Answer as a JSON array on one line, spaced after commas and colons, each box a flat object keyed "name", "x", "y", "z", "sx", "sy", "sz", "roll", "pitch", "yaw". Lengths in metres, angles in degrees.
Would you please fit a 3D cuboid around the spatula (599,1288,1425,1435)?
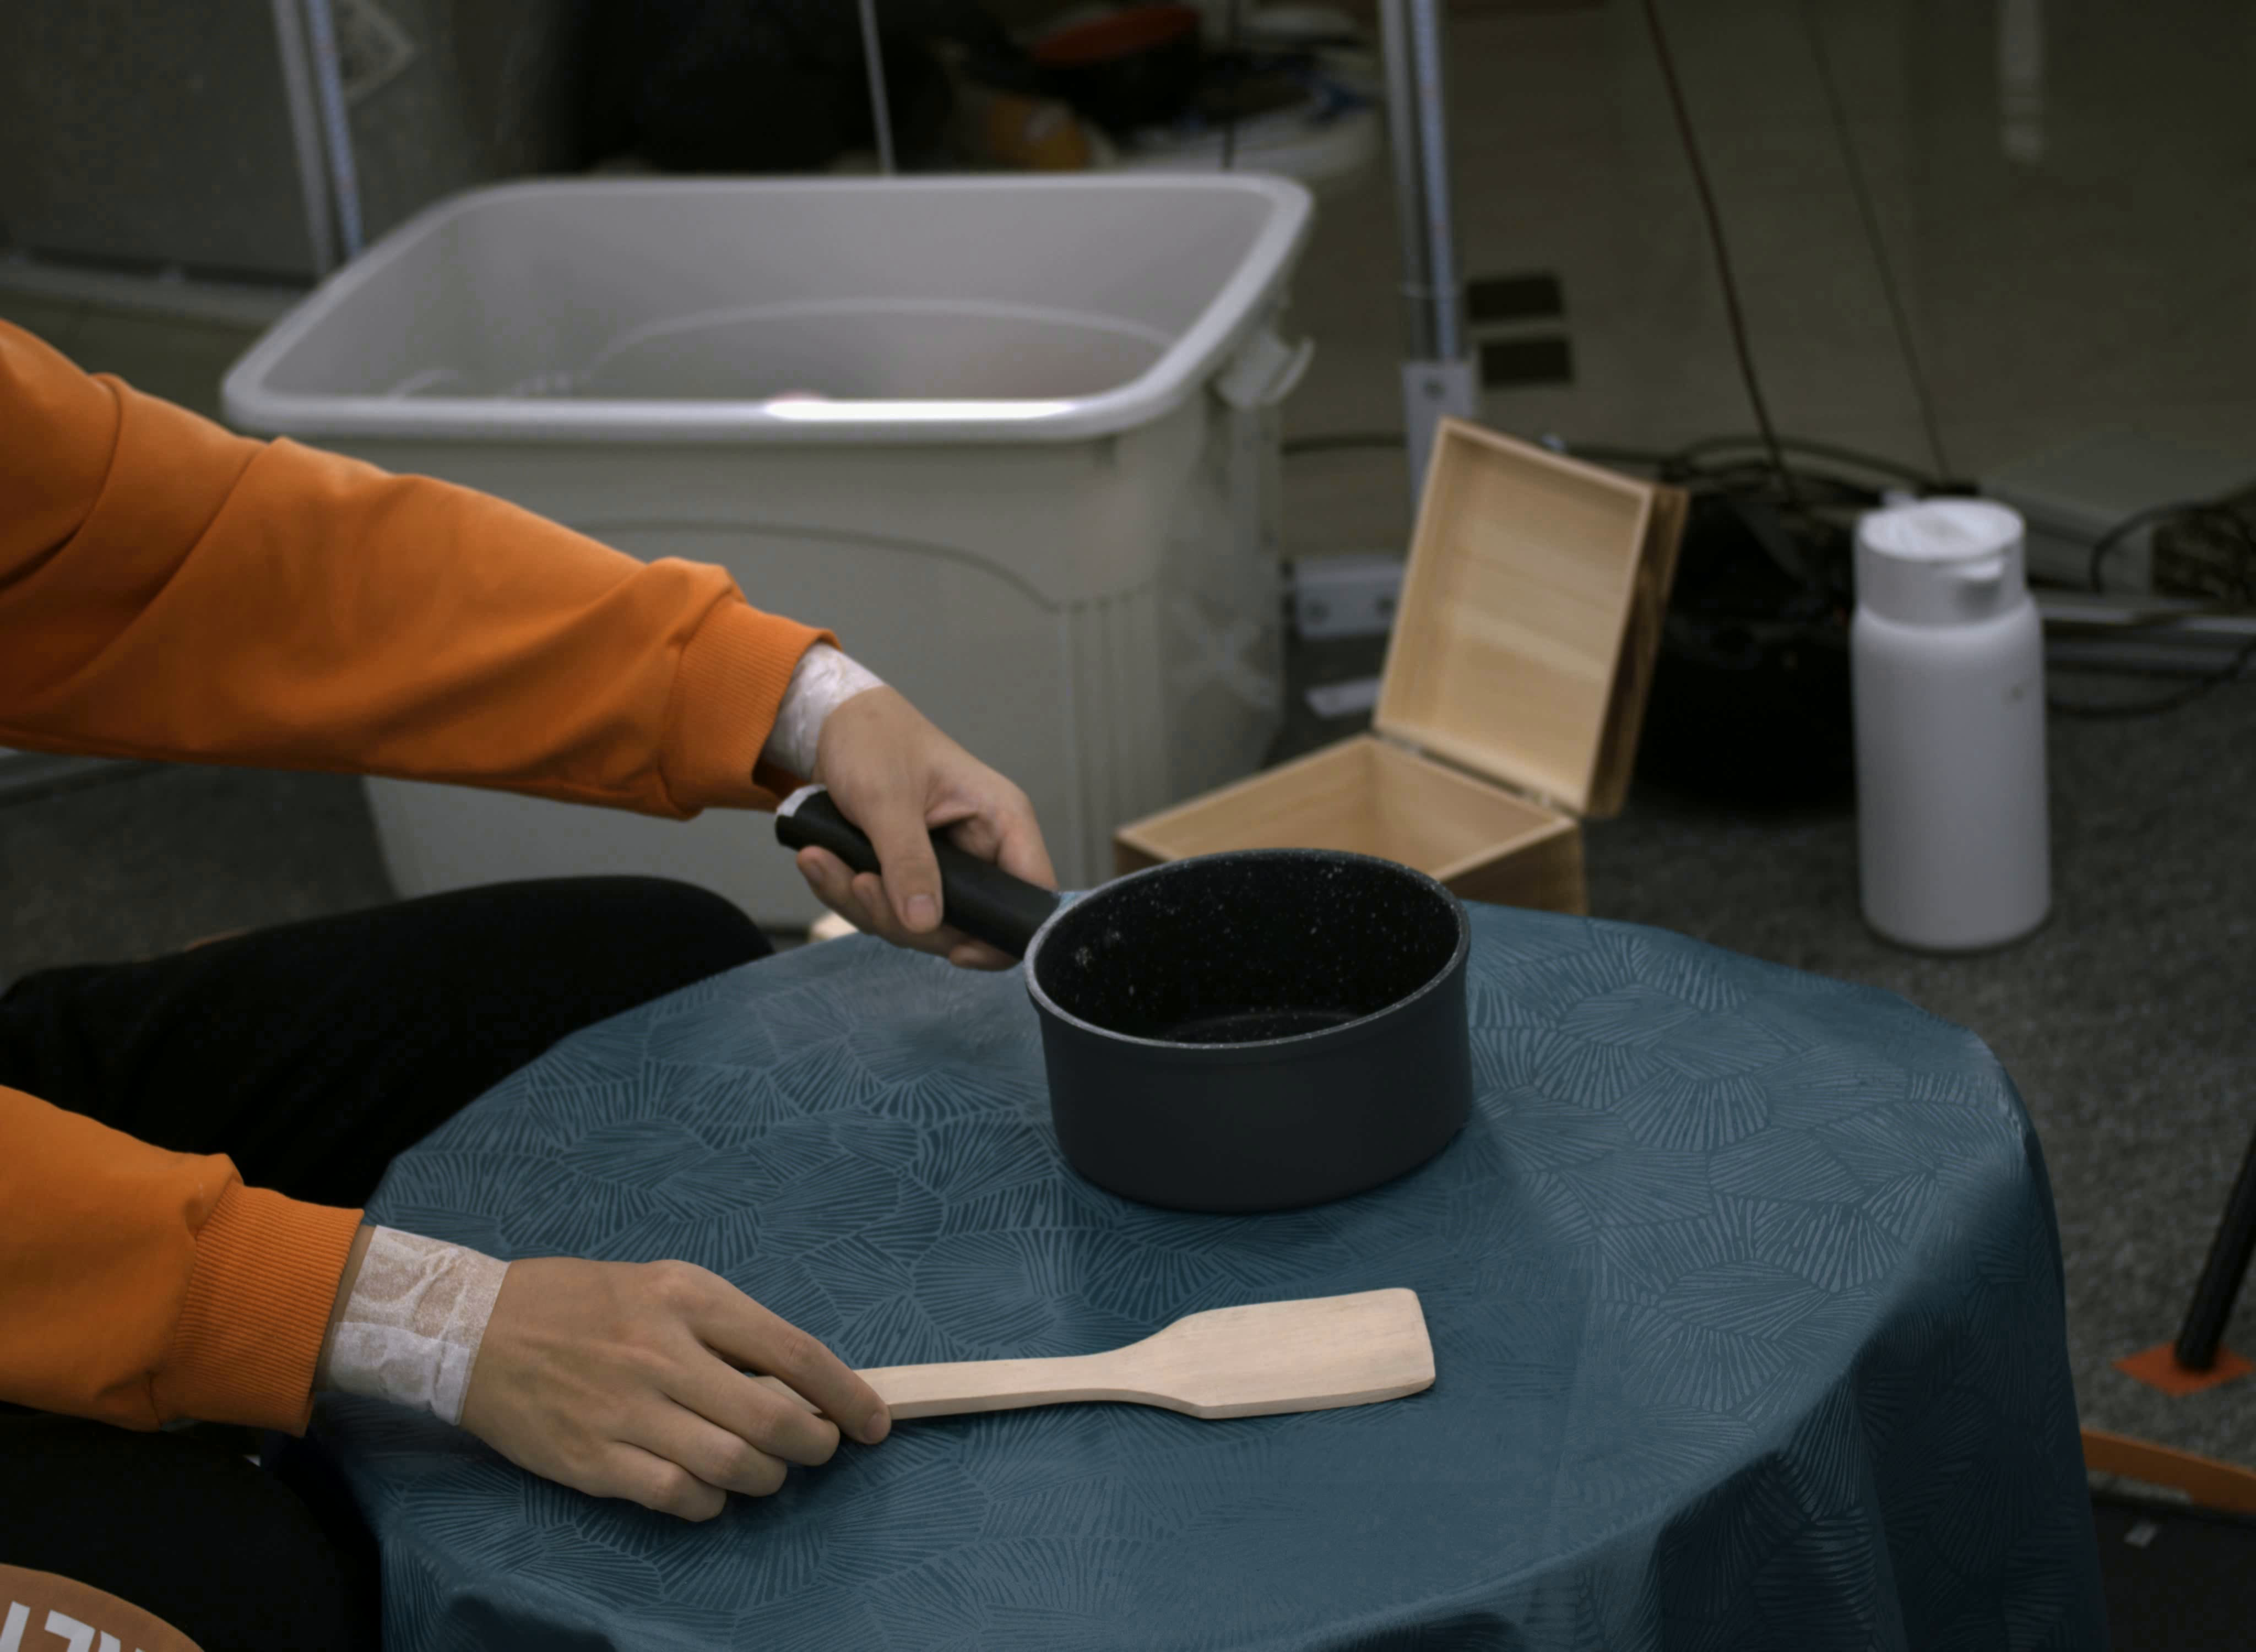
[{"name": "spatula", "x": -0.042, "y": 0.196, "z": 2.014, "sx": 0.292, "sy": 0.011, "sz": 0.071, "roll": -5, "pitch": 27, "yaw": -2}]

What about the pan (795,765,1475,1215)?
[{"name": "pan", "x": -0.009, "y": 0.057, "z": 2.223, "sx": 0.326, "sy": 0.088, "sz": 0.170, "roll": 20, "pitch": 35, "yaw": 40}]
